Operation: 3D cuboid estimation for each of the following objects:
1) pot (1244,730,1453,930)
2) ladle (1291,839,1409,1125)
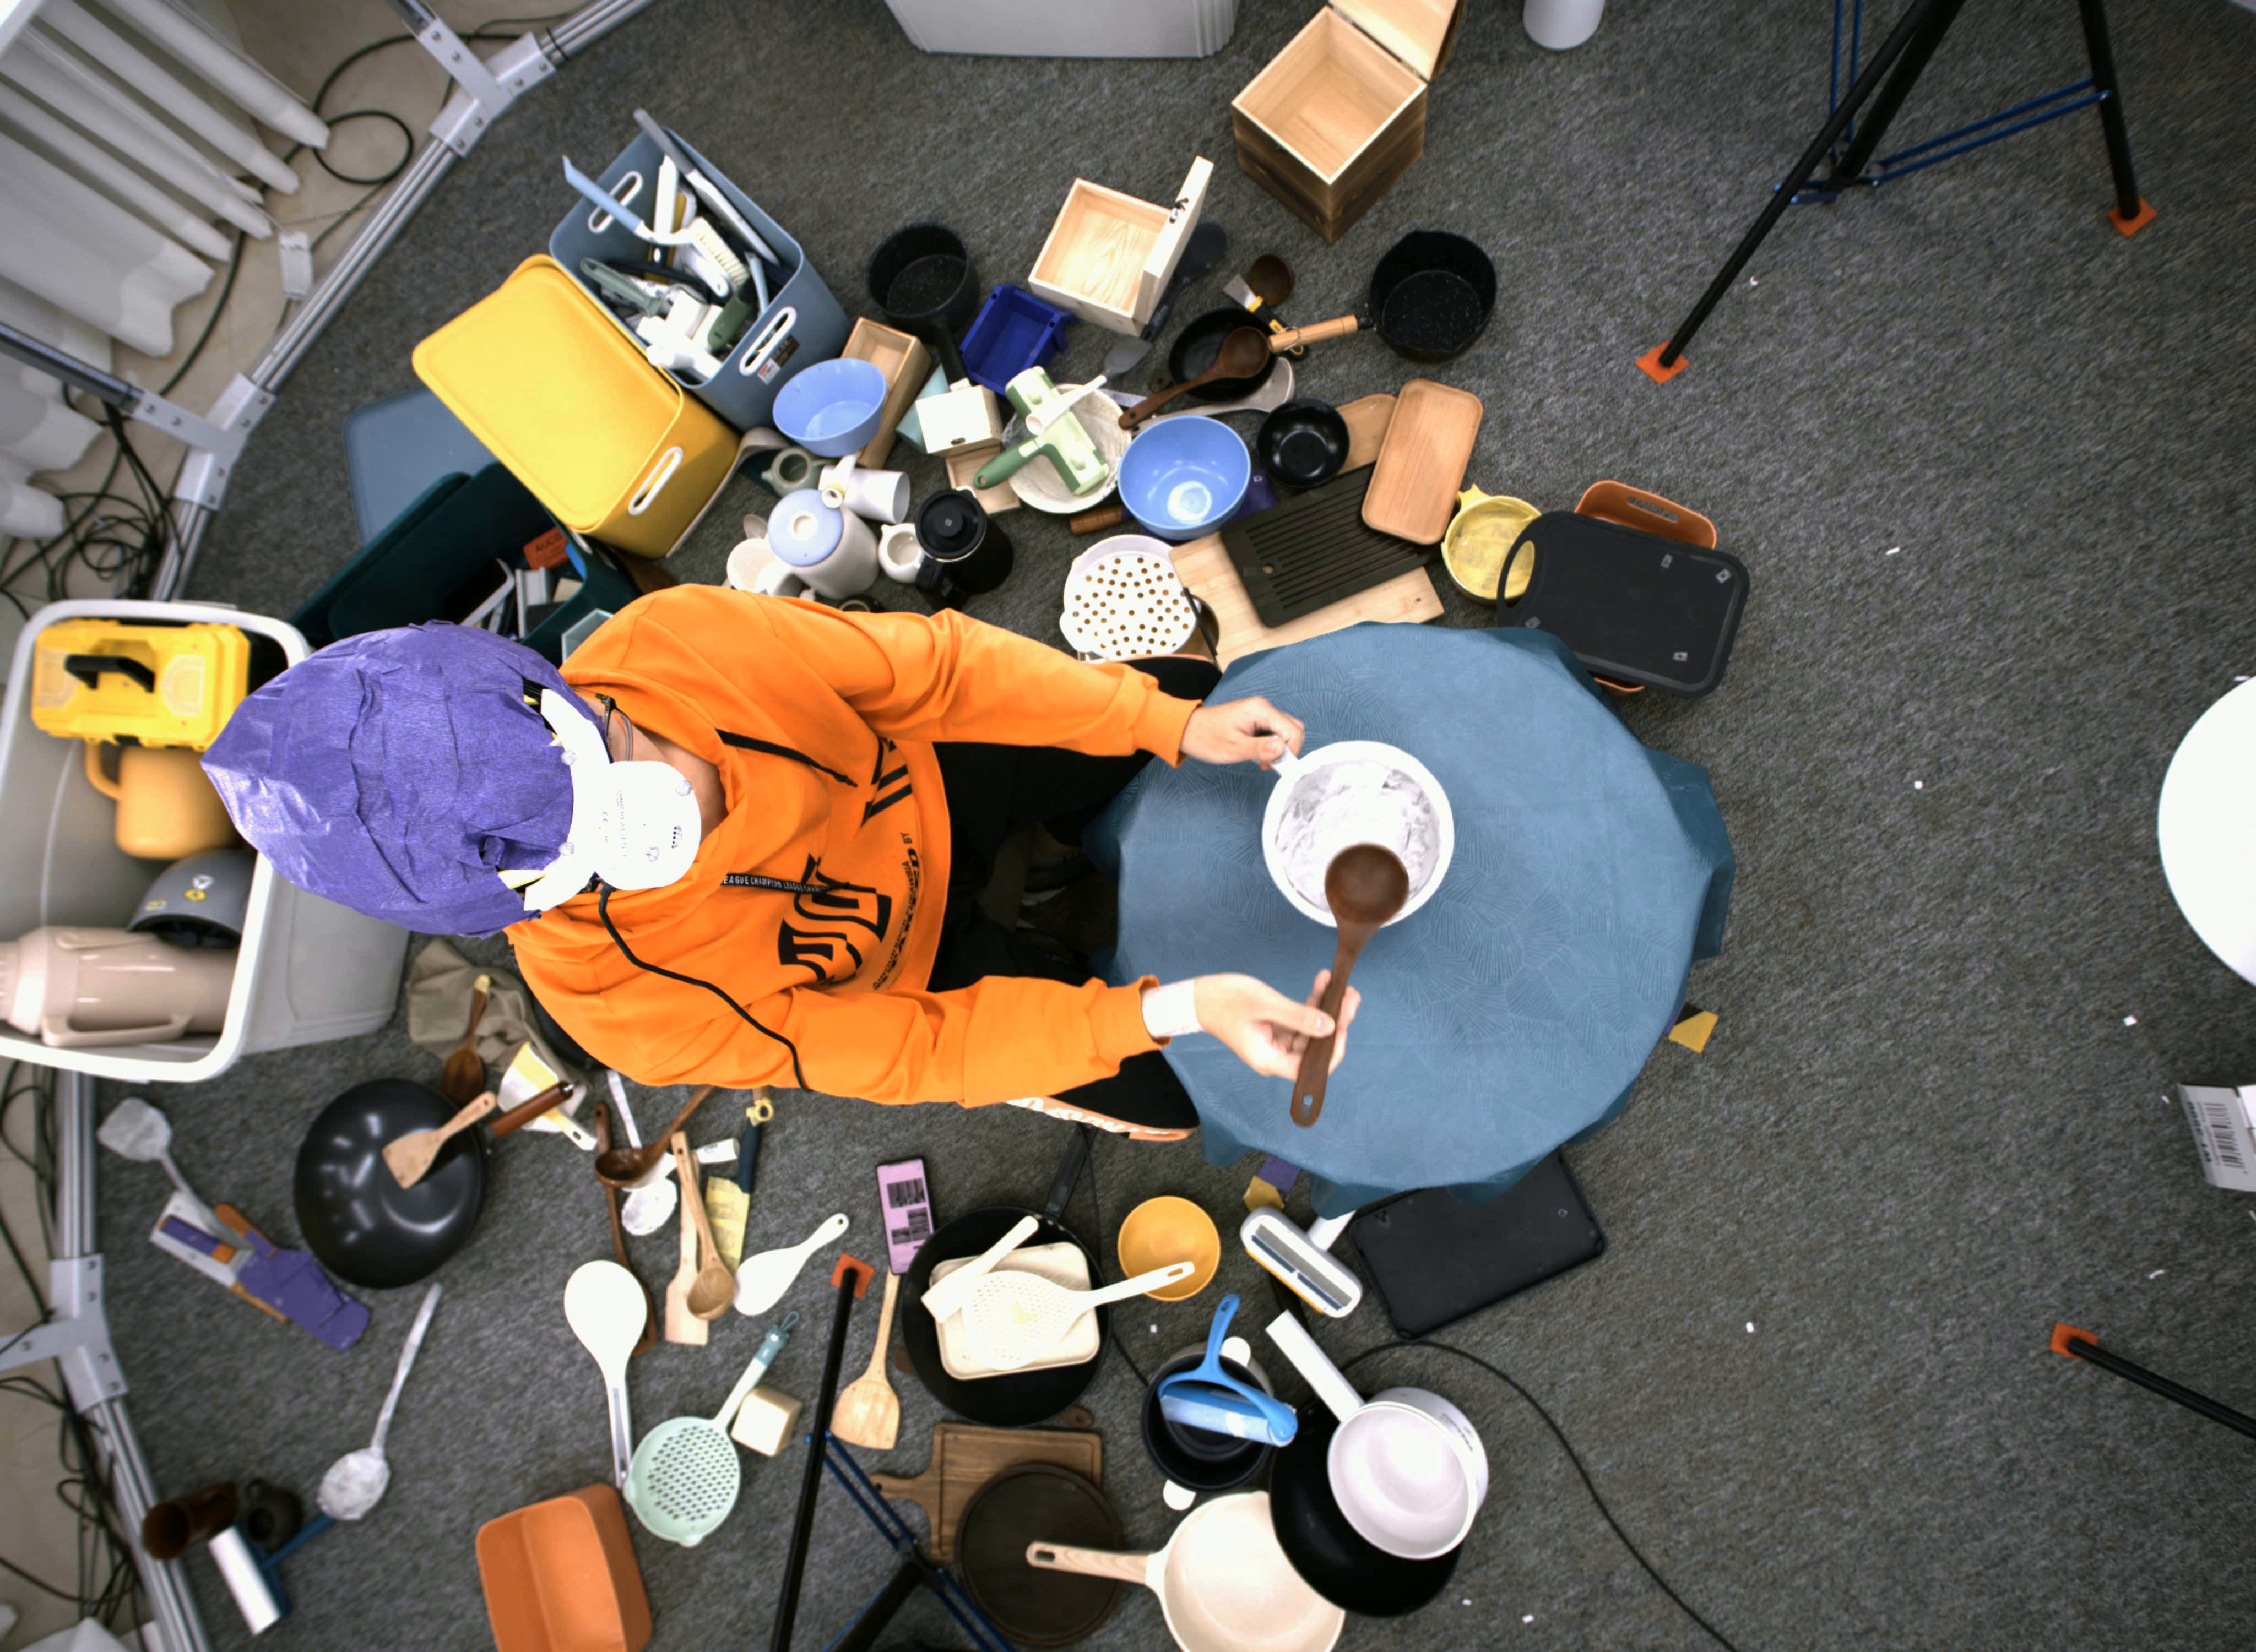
[{"bbox_3d":[0.201,-0.006,1.350,0.233,0.136,0.179,45,94,7],"label":"pot"},{"bbox_3d":[0.179,0.125,1.176,0.077,0.066,0.254,10,59,22],"label":"ladle"}]
